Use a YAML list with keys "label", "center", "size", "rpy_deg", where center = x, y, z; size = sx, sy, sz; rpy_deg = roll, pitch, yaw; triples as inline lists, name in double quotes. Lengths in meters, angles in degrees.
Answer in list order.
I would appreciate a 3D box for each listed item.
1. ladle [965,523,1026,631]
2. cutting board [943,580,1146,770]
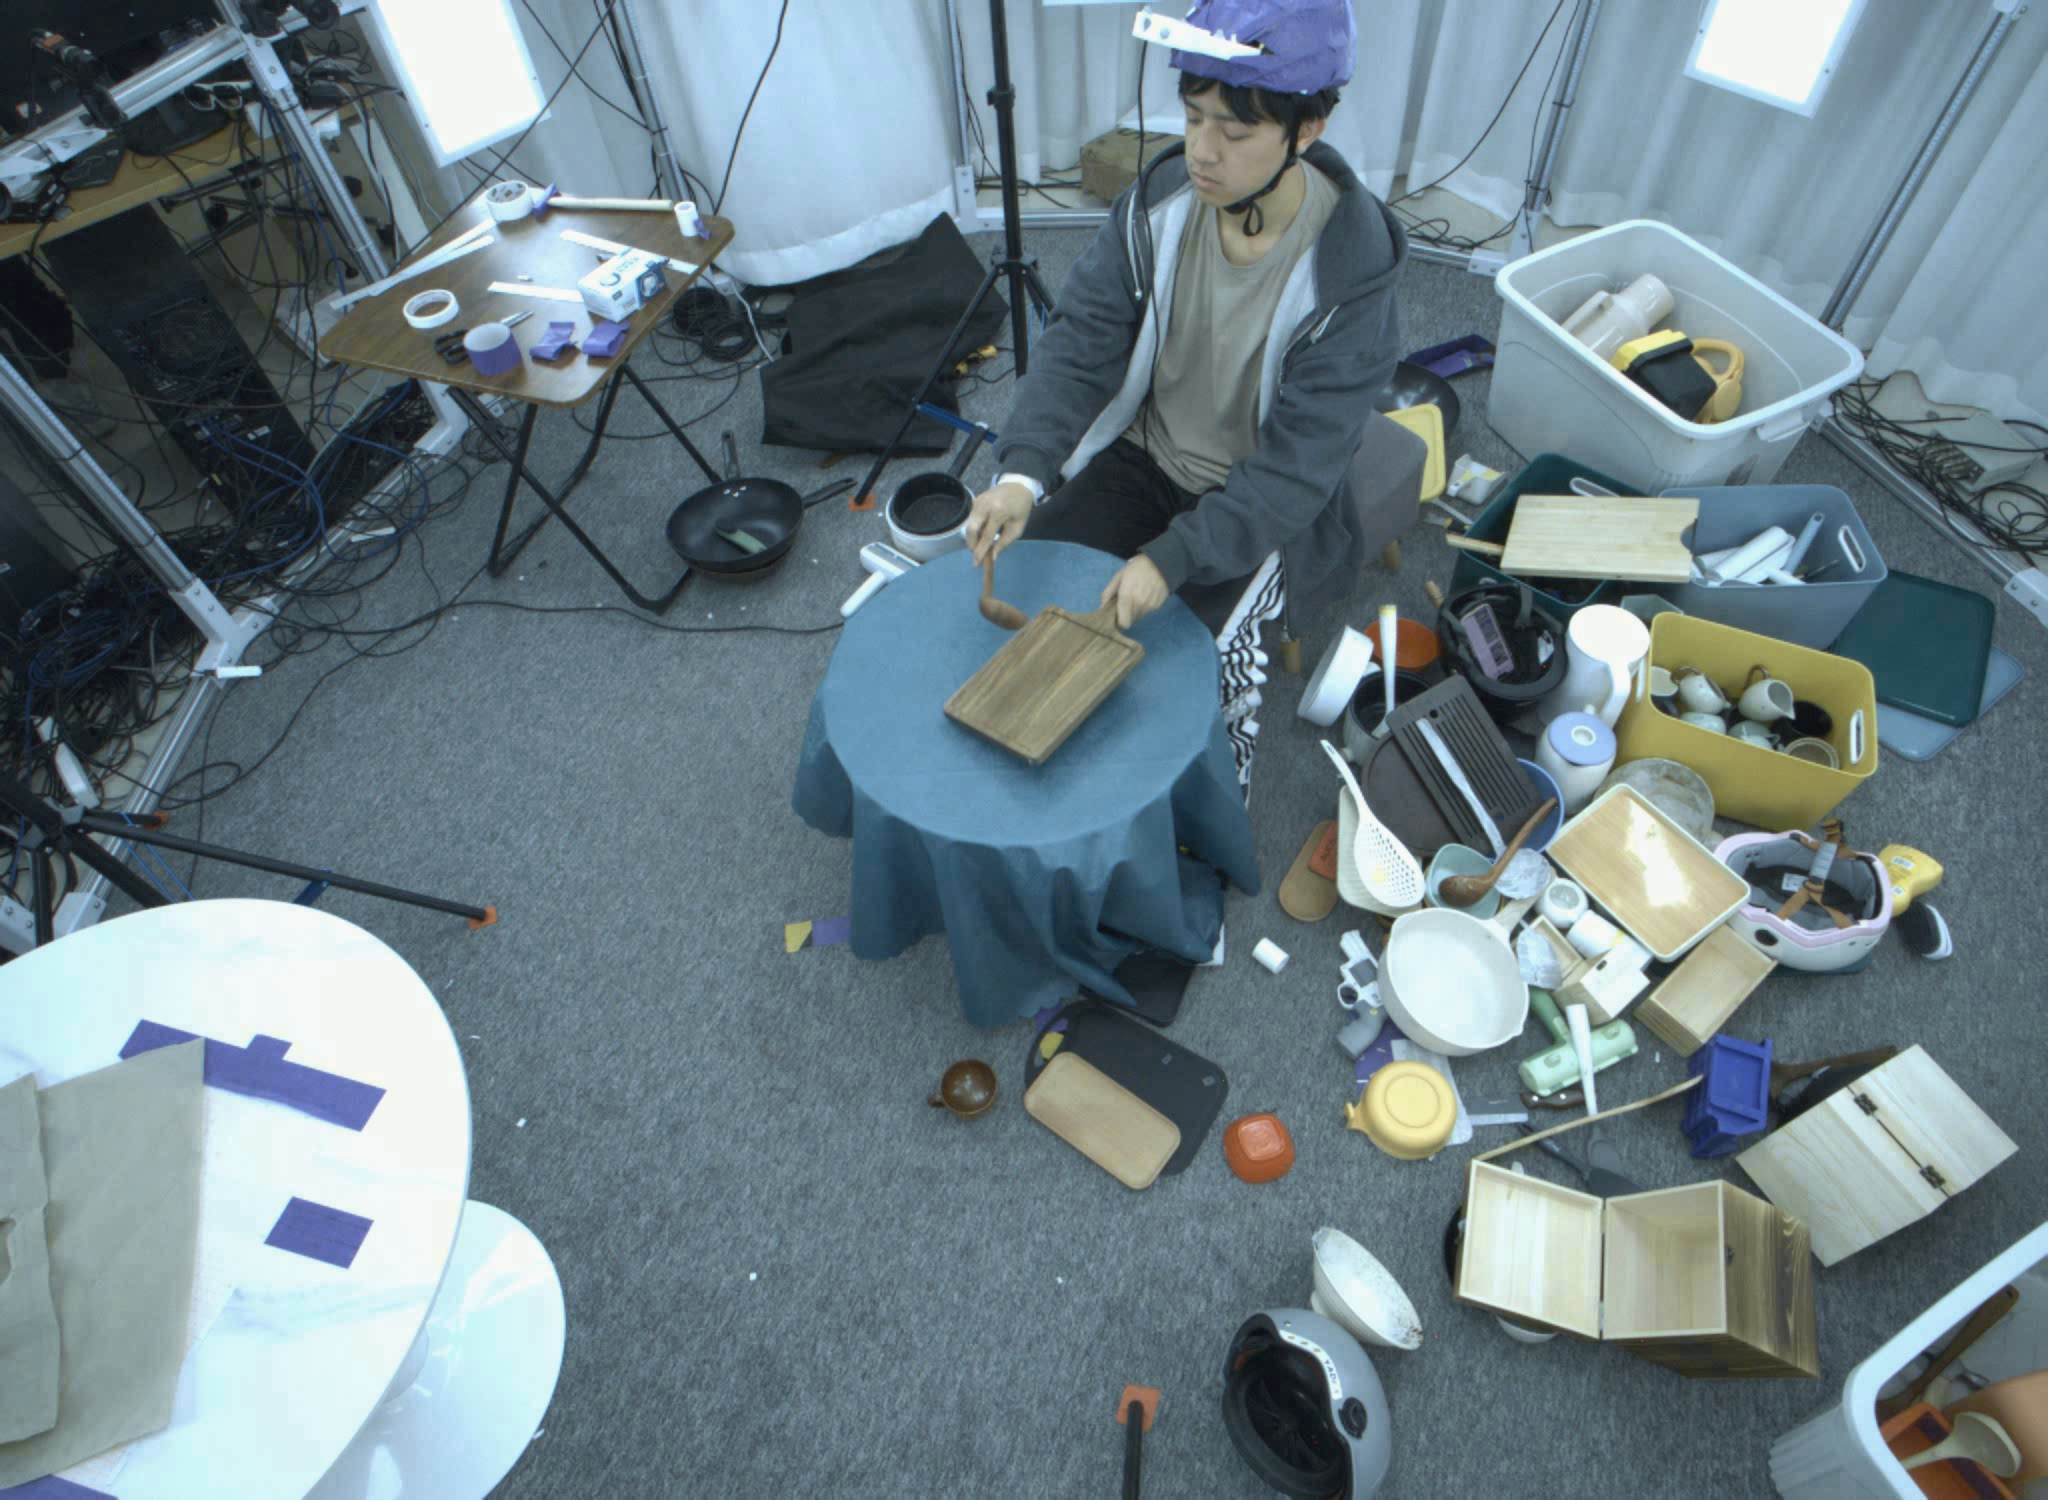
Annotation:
- label: "ladle"
  center: [-0.048, -0.267, 1.798]
  size: [0.064, 0.078, 0.256]
  rpy_deg: [-37, 42, 27]
- label: "cutting board"
  center: [0.061, -0.132, 1.819]
  size: [0.197, 0.023, 0.354]
  rpy_deg: [29, 65, 33]
